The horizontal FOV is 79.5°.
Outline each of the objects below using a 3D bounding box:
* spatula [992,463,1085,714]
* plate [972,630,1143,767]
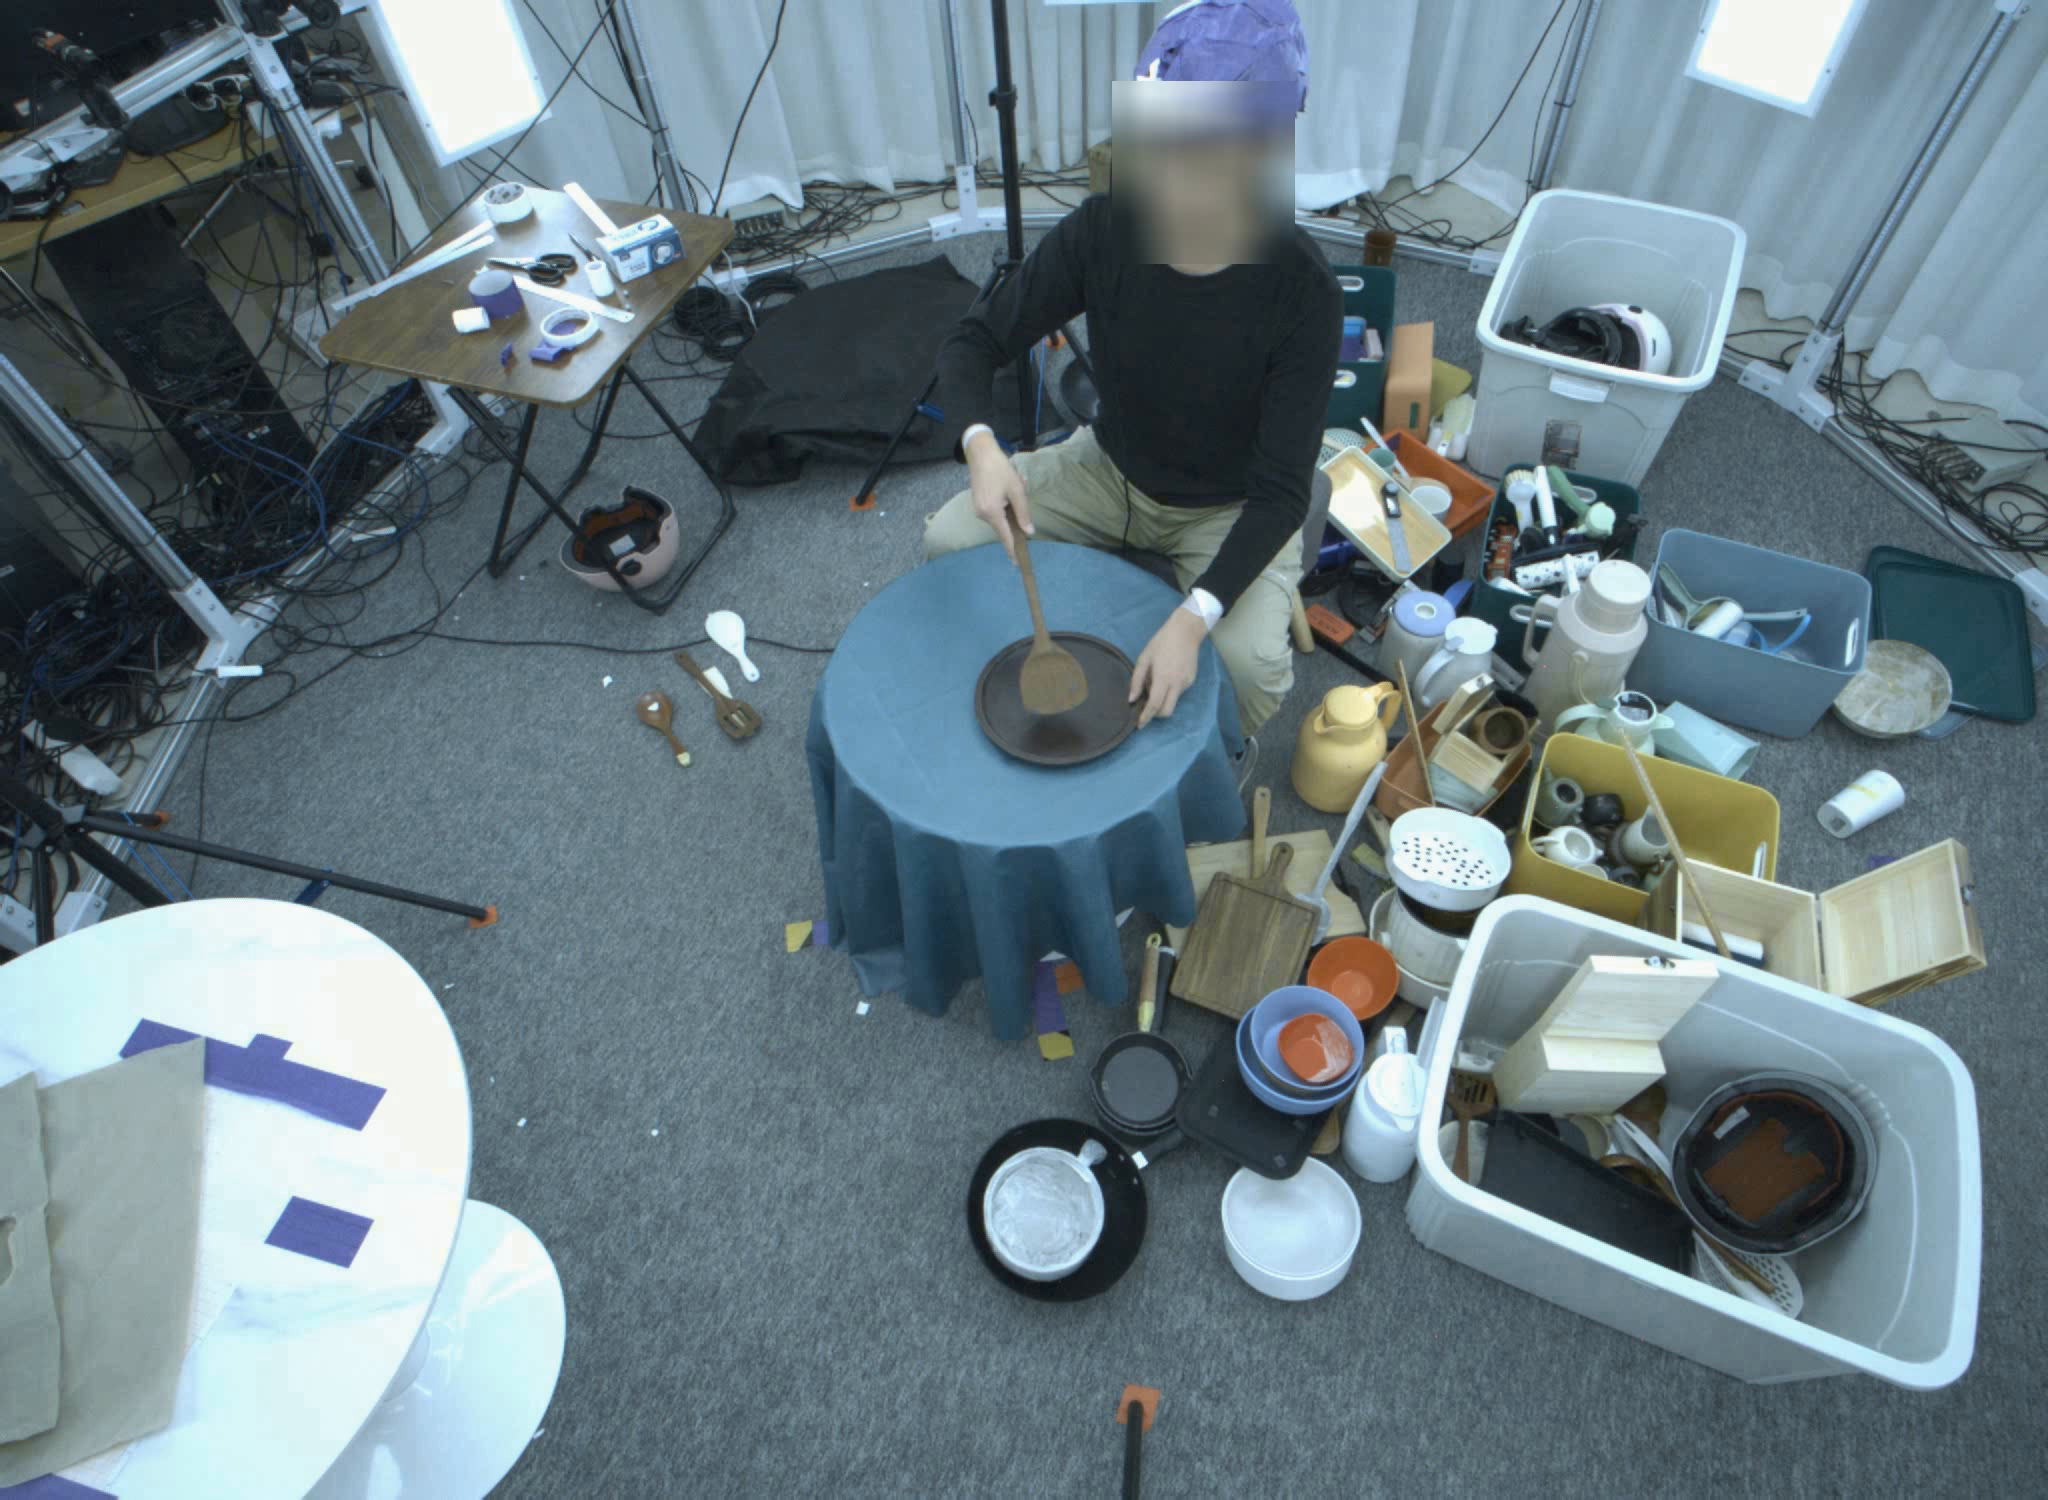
[{"bbox_3d":[0.004,-0.239,1.771,0.096,0.016,0.384,-13,83,0],"label":"spatula"},{"bbox_3d":[0.050,-0.078,1.826,0.254,0.029,0.252,-1,54,3],"label":"plate"}]
